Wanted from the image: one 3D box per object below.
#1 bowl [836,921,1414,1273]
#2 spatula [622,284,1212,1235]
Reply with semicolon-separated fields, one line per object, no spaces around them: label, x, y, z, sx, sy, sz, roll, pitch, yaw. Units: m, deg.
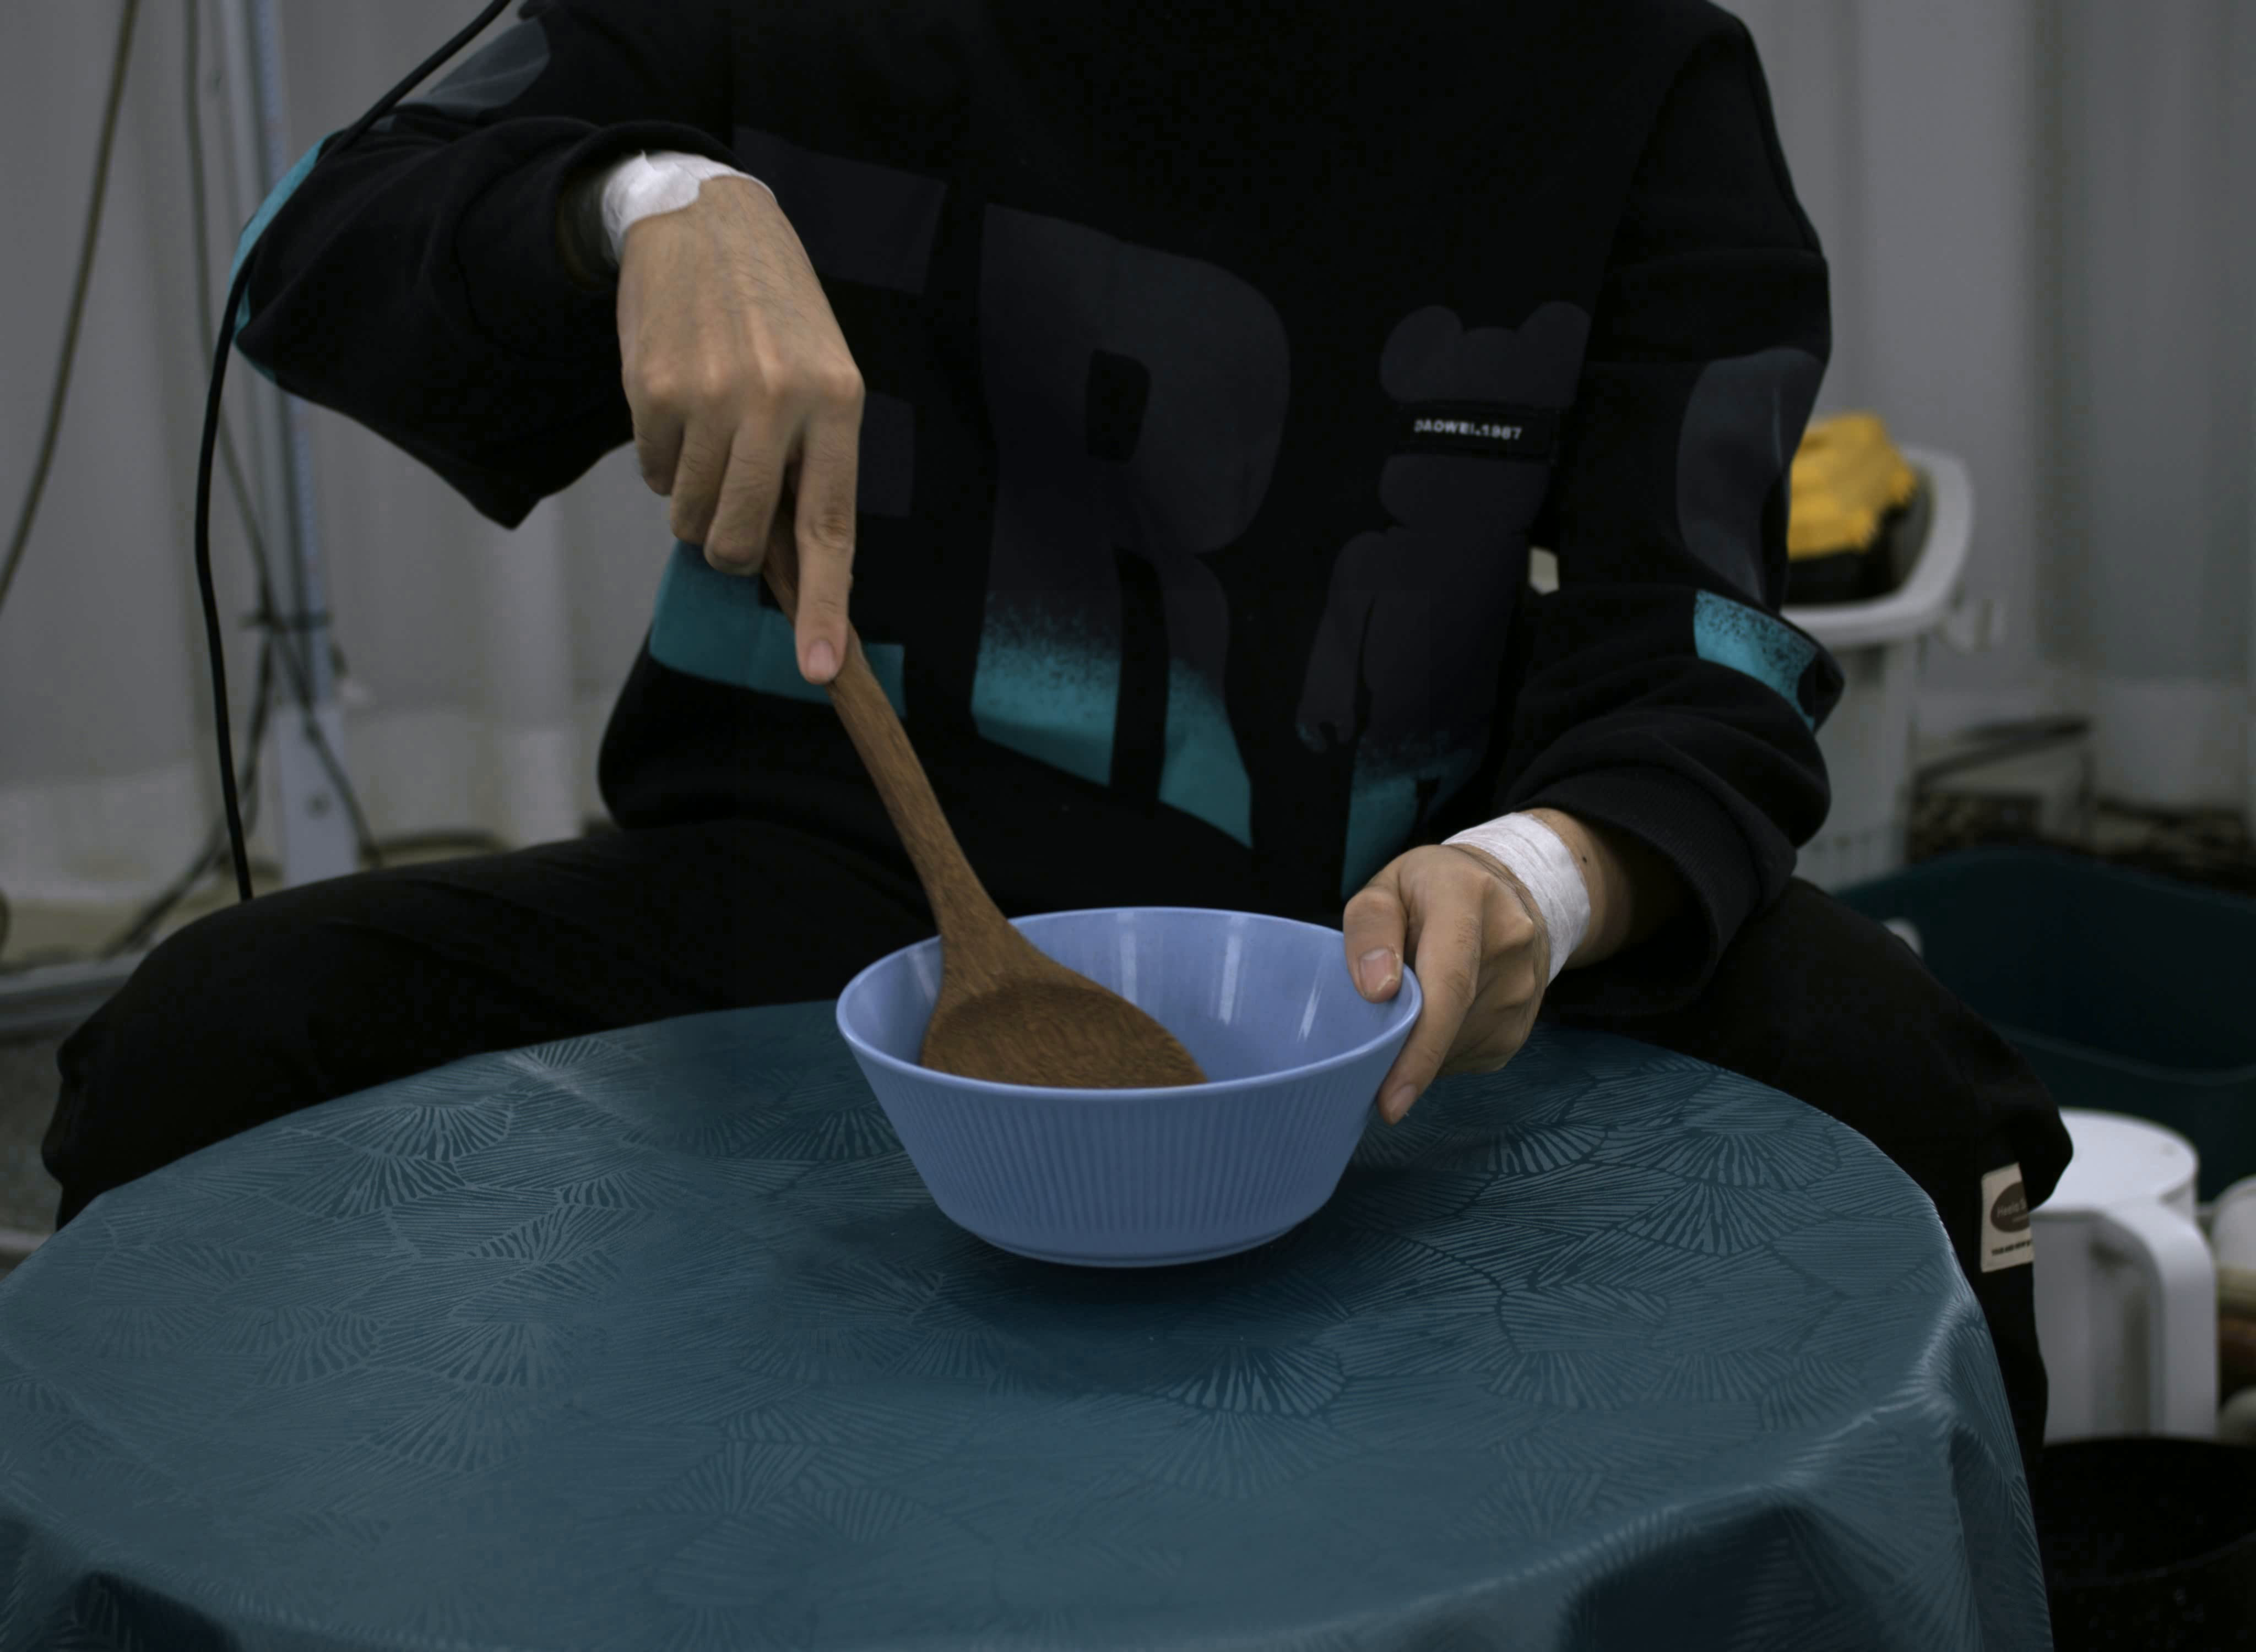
bowl;0.001;0.084;1.651;0.175;0.070;0.177;-4;15;1
spatula;-0.078;-0.030;1.720;0.096;0.015;0.391;-12;58;-27
